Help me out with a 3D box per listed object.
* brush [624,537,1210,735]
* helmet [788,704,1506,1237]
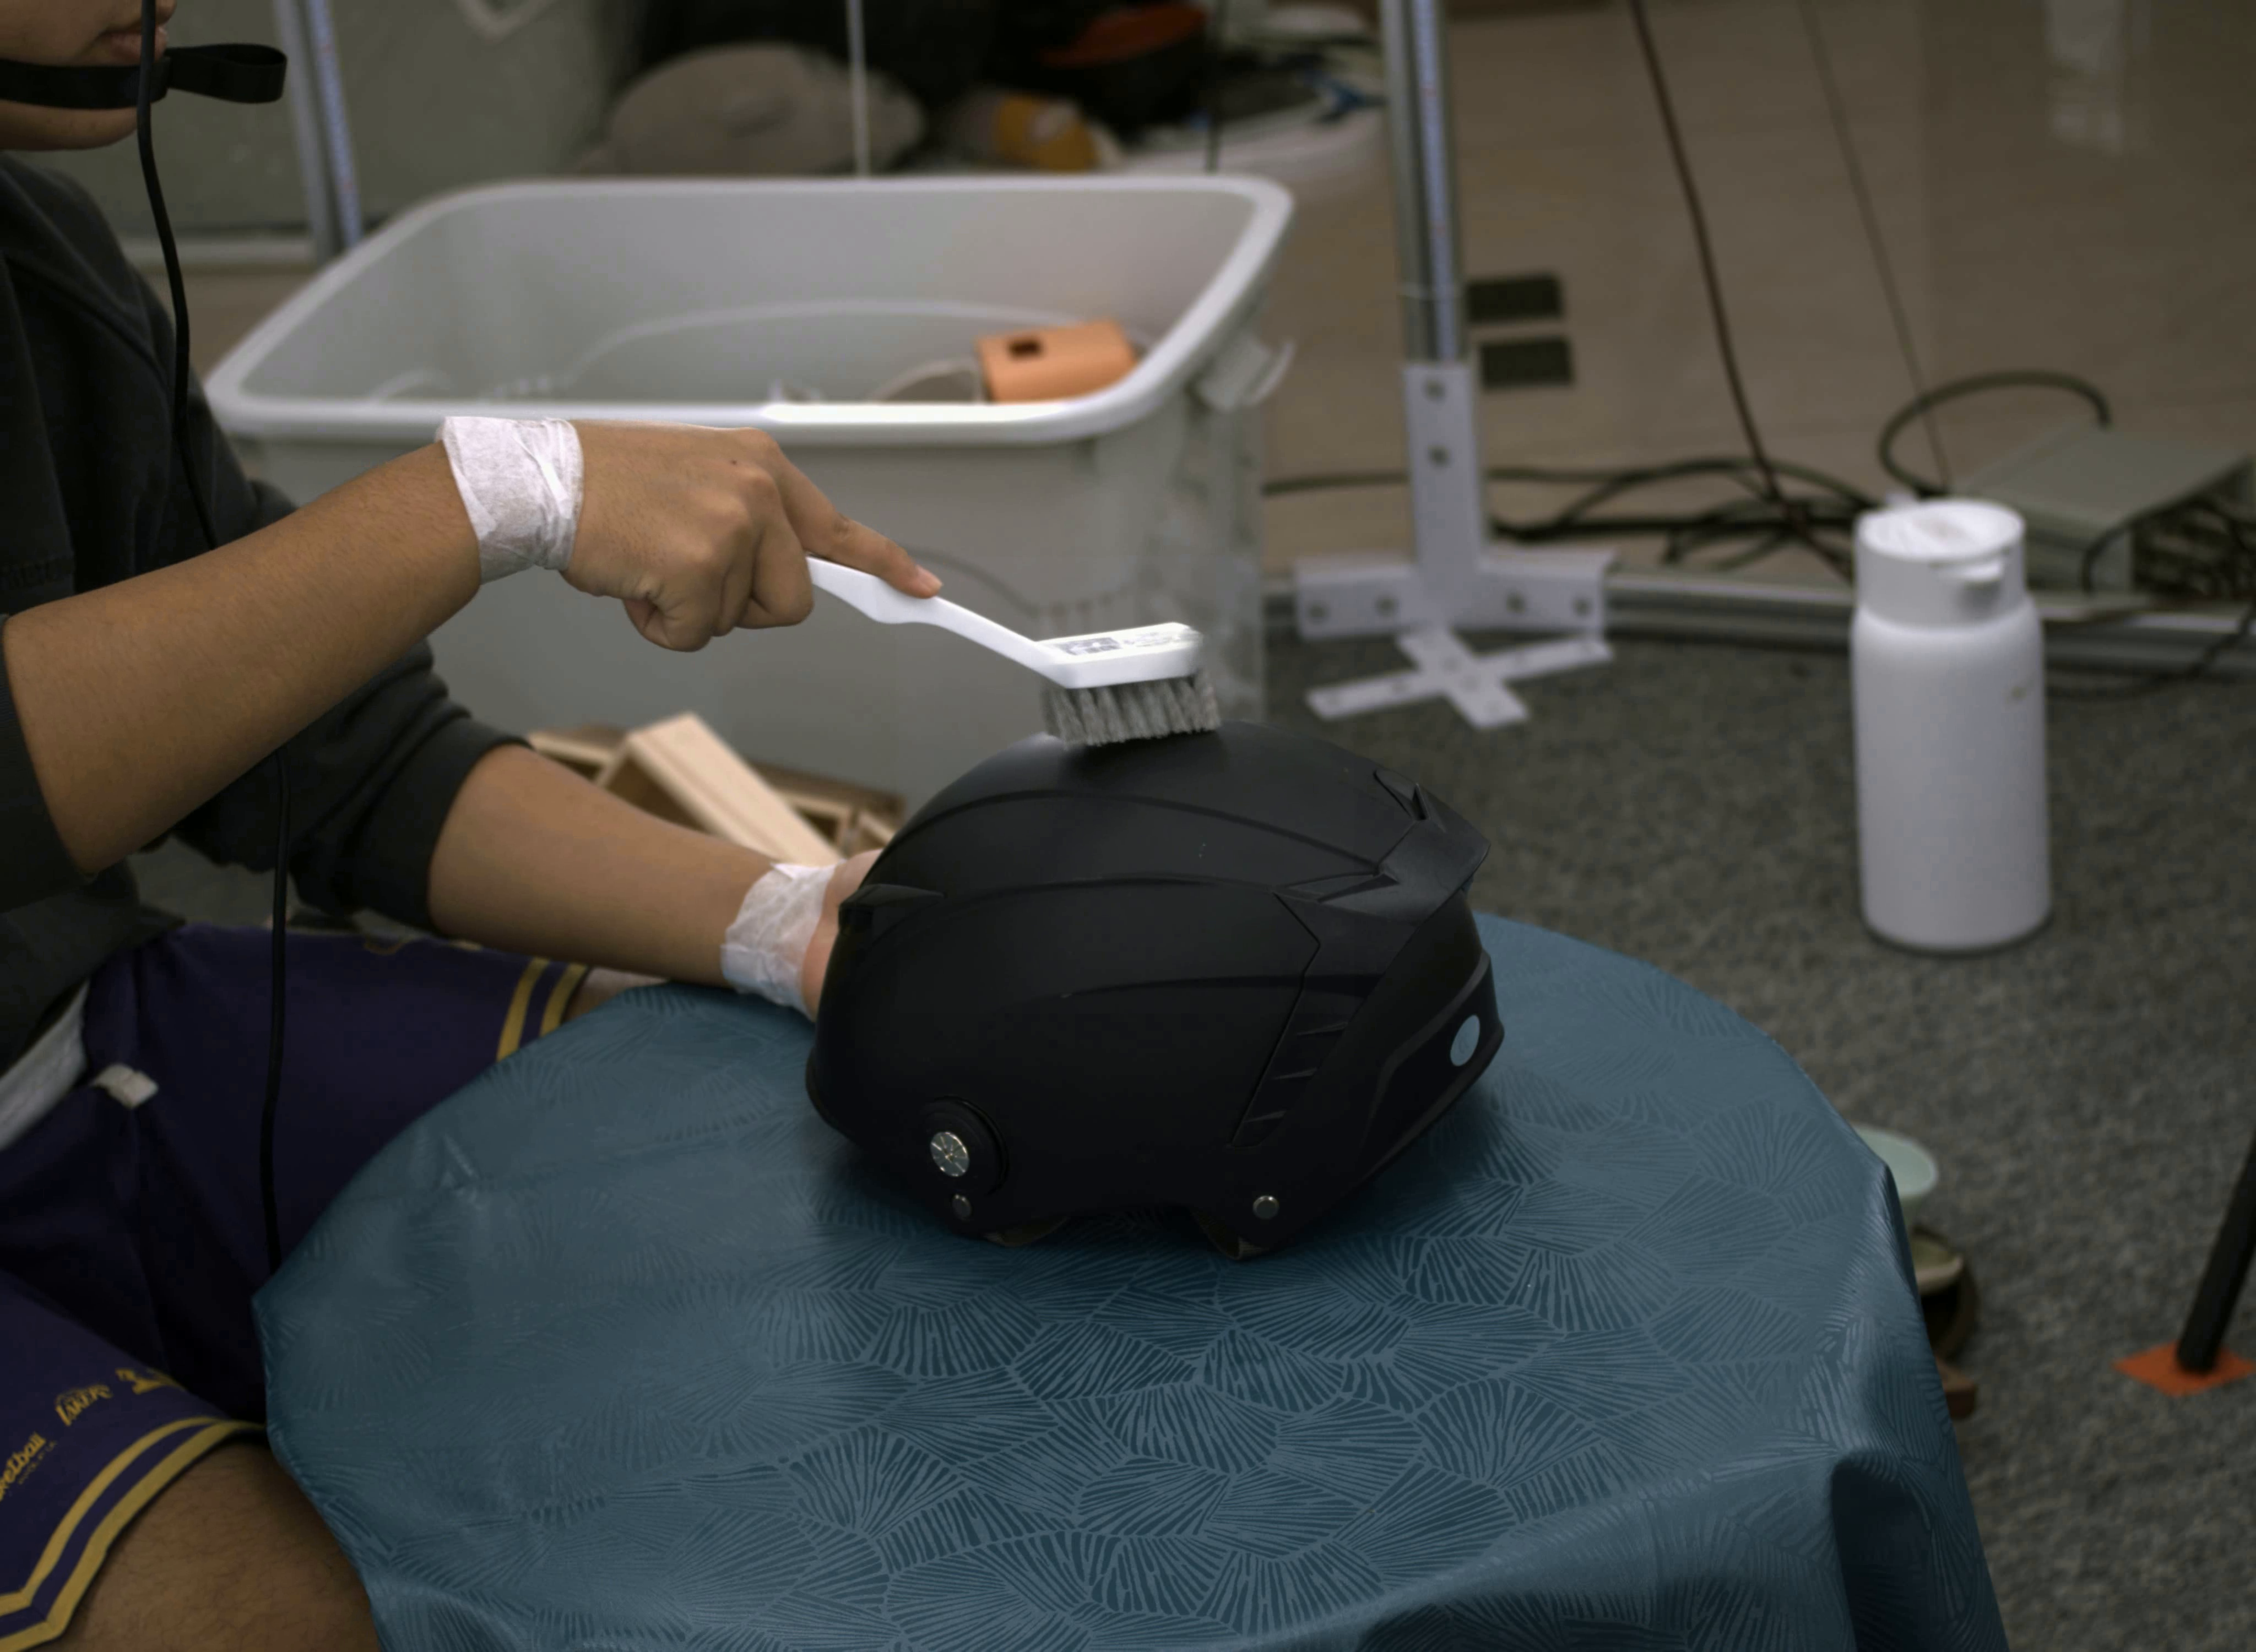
[{"bbox_3d":[-0.077,-0.067,2.074,0.244,0.050,0.034,8,13,-30],"label":"brush"},{"bbox_3d":[0.007,0.041,2.156,0.275,0.175,0.243,12,32,26],"label":"helmet"}]
